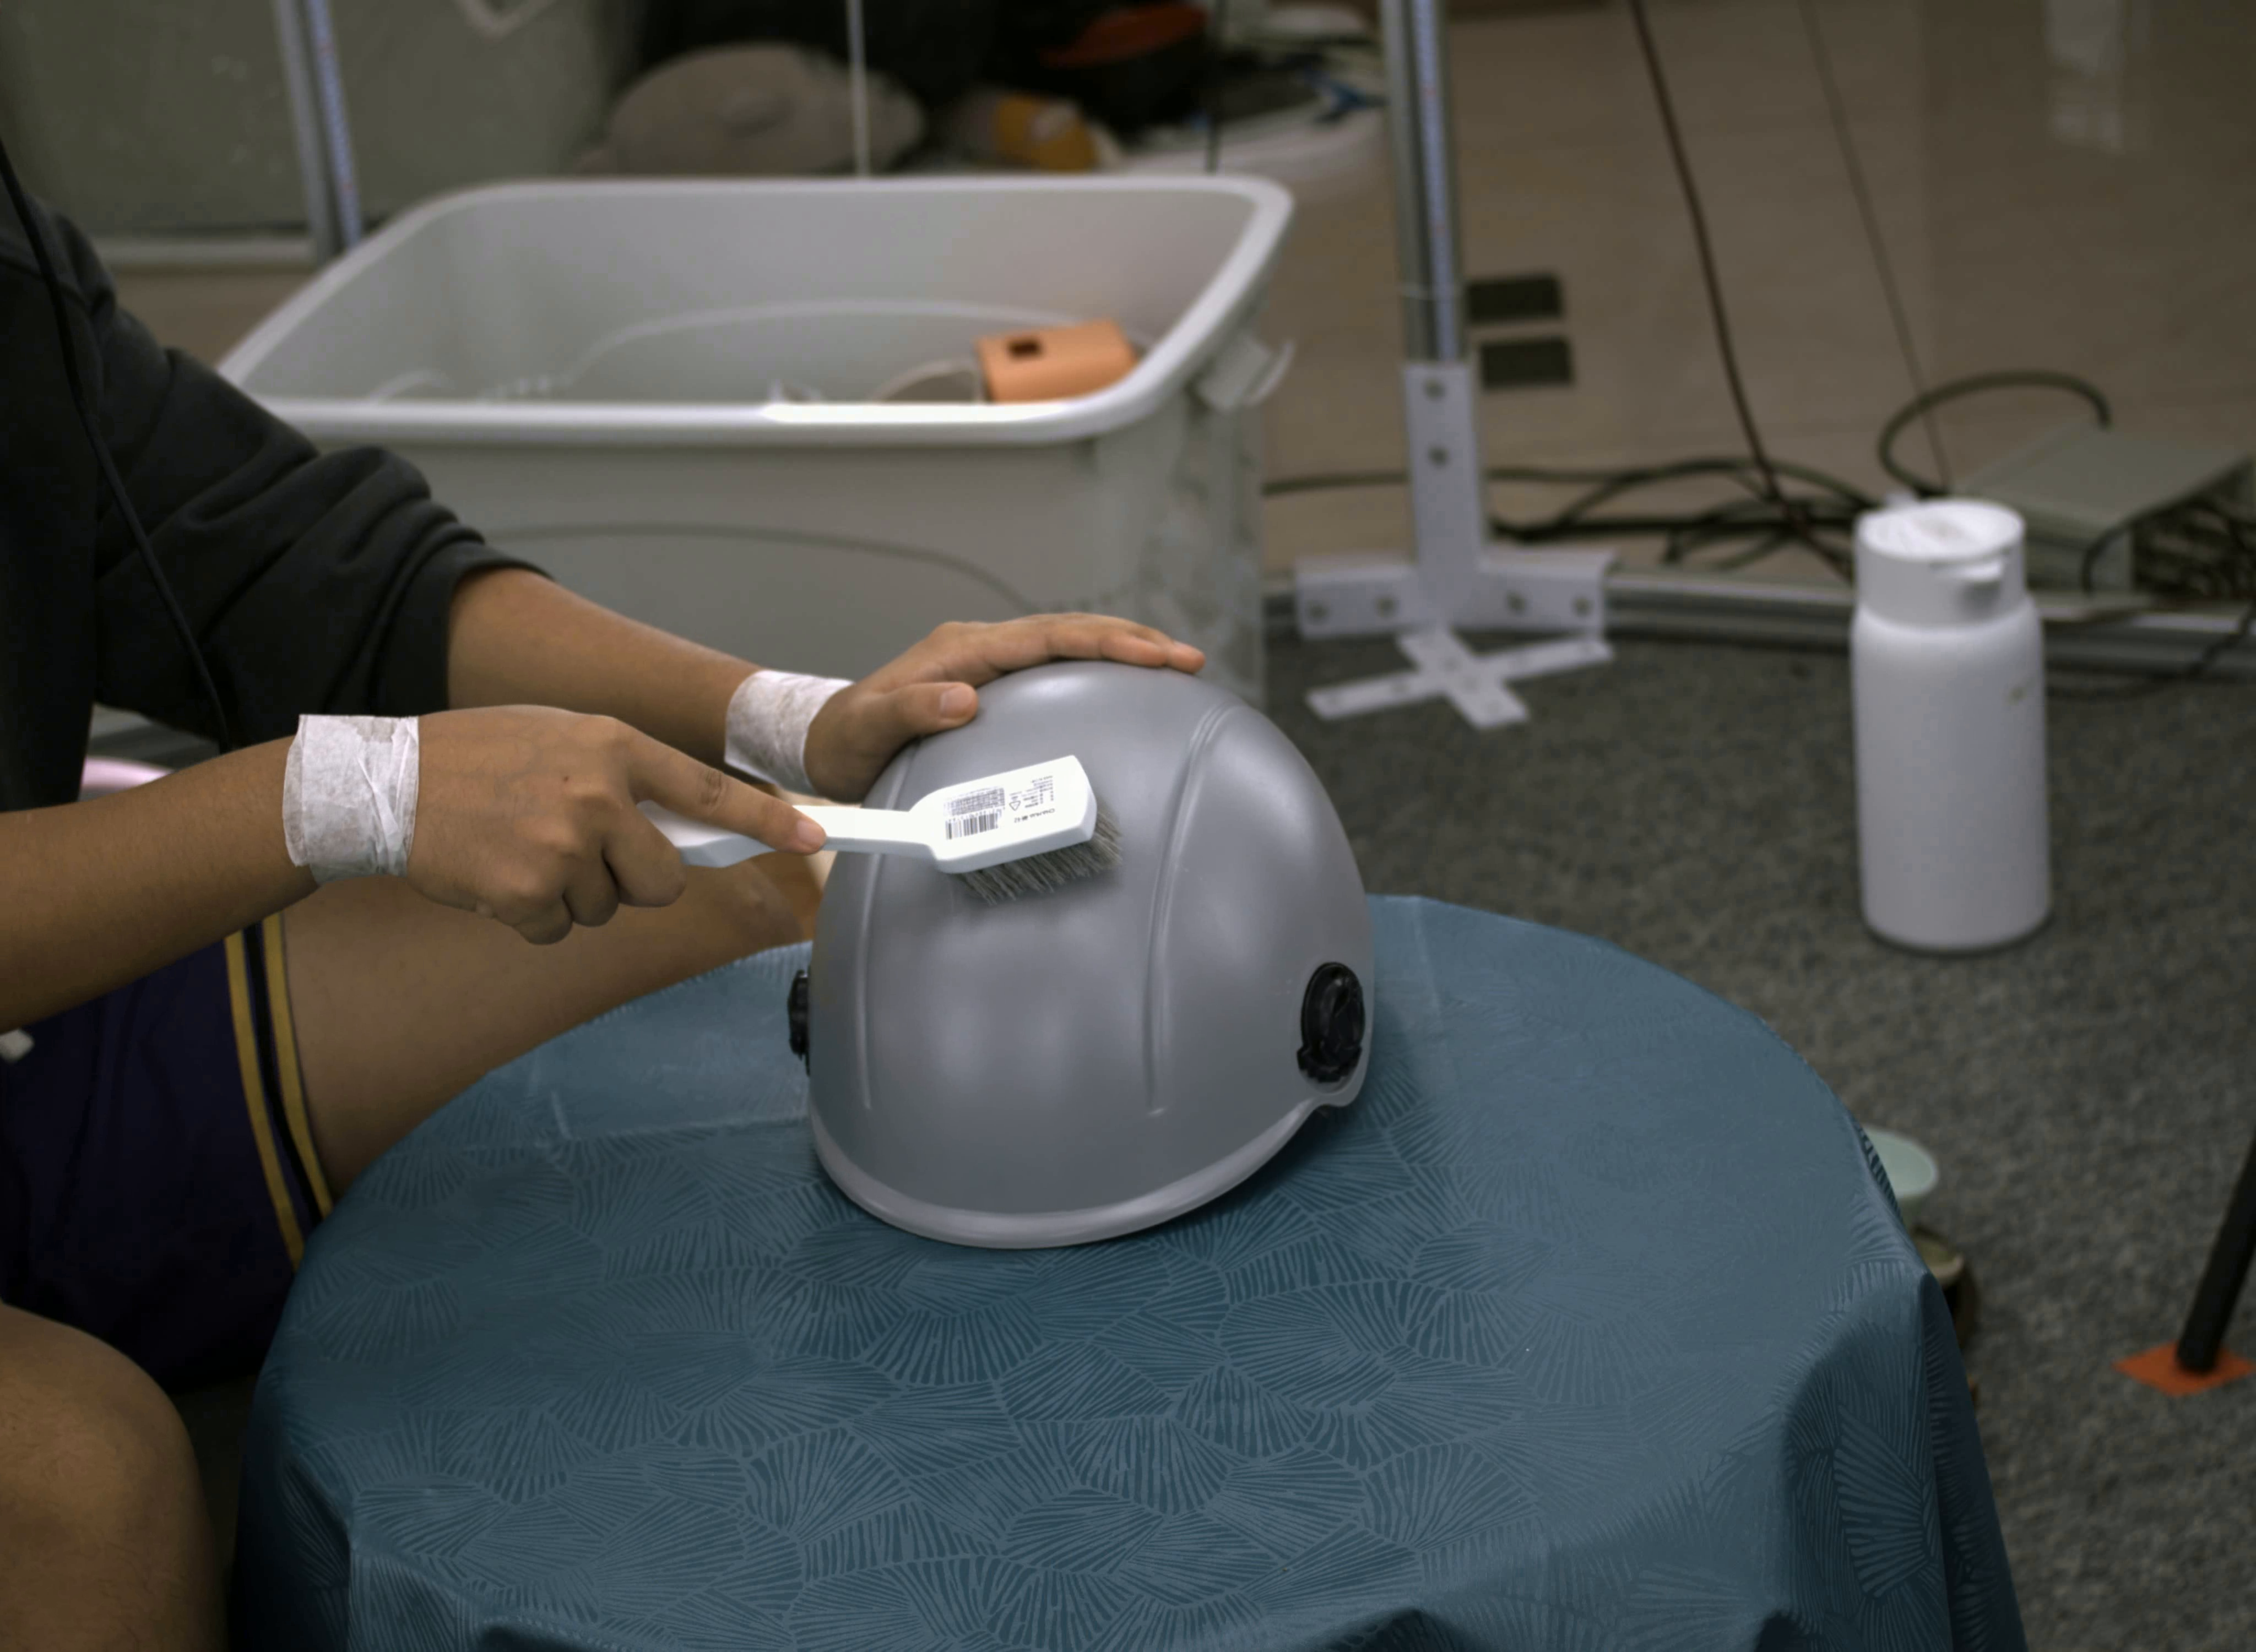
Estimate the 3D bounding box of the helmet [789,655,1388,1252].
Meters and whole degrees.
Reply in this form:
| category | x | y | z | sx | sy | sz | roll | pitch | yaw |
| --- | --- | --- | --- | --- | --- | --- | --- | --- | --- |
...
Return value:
| category | x | y | z | sx | sy | sz | roll | pitch | yaw |
| --- | --- | --- | --- | --- | --- | --- | --- | --- | --- |
| helmet | -0.019 | 0.029 | 2.197 | 0.231 | 0.171 | 0.272 | 0 | 27 | 17 |

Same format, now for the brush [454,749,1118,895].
| category | x | y | z | sx | sy | sz | roll | pitch | yaw |
| --- | --- | --- | --- | --- | --- | --- | --- | --- | --- |
| brush | -0.125 | 0.008 | 2.088 | 0.243 | 0.051 | 0.034 | -6 | 57 | -2 |
